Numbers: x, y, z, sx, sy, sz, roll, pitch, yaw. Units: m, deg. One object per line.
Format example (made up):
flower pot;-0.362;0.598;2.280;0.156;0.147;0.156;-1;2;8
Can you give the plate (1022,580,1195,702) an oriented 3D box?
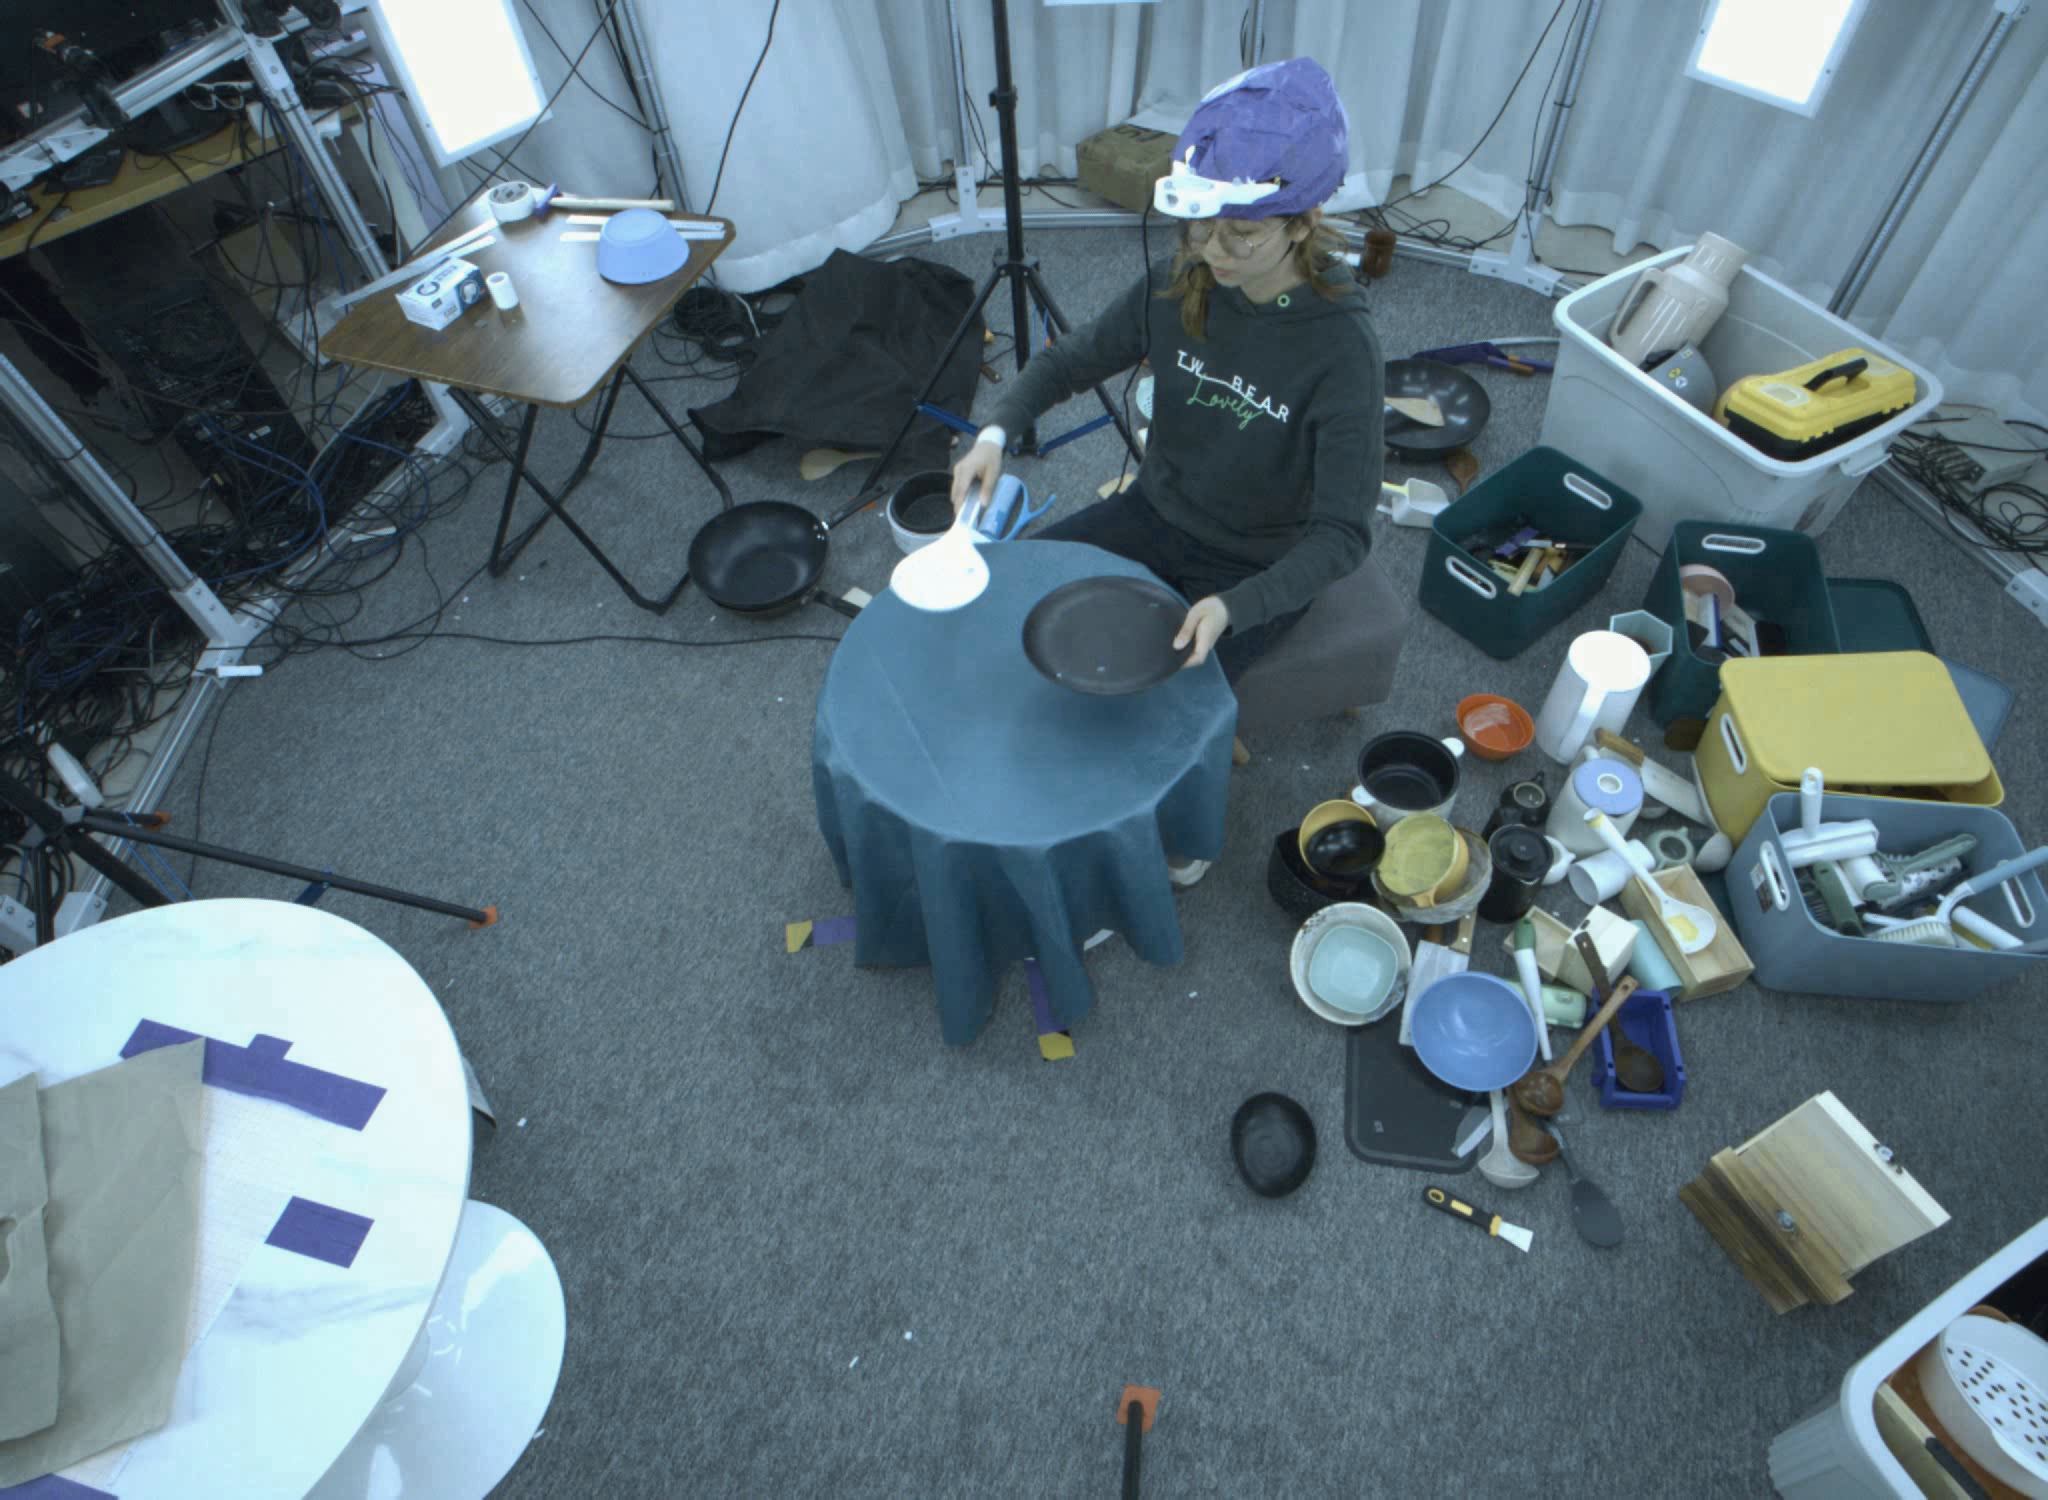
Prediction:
plate;0.119;-0.152;1.743;0.244;0.024;0.242;-1;51;2

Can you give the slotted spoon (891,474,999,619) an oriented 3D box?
slotted spoon;-0.095;-0.307;1.810;0.135;0.046;0.348;11;53;8
